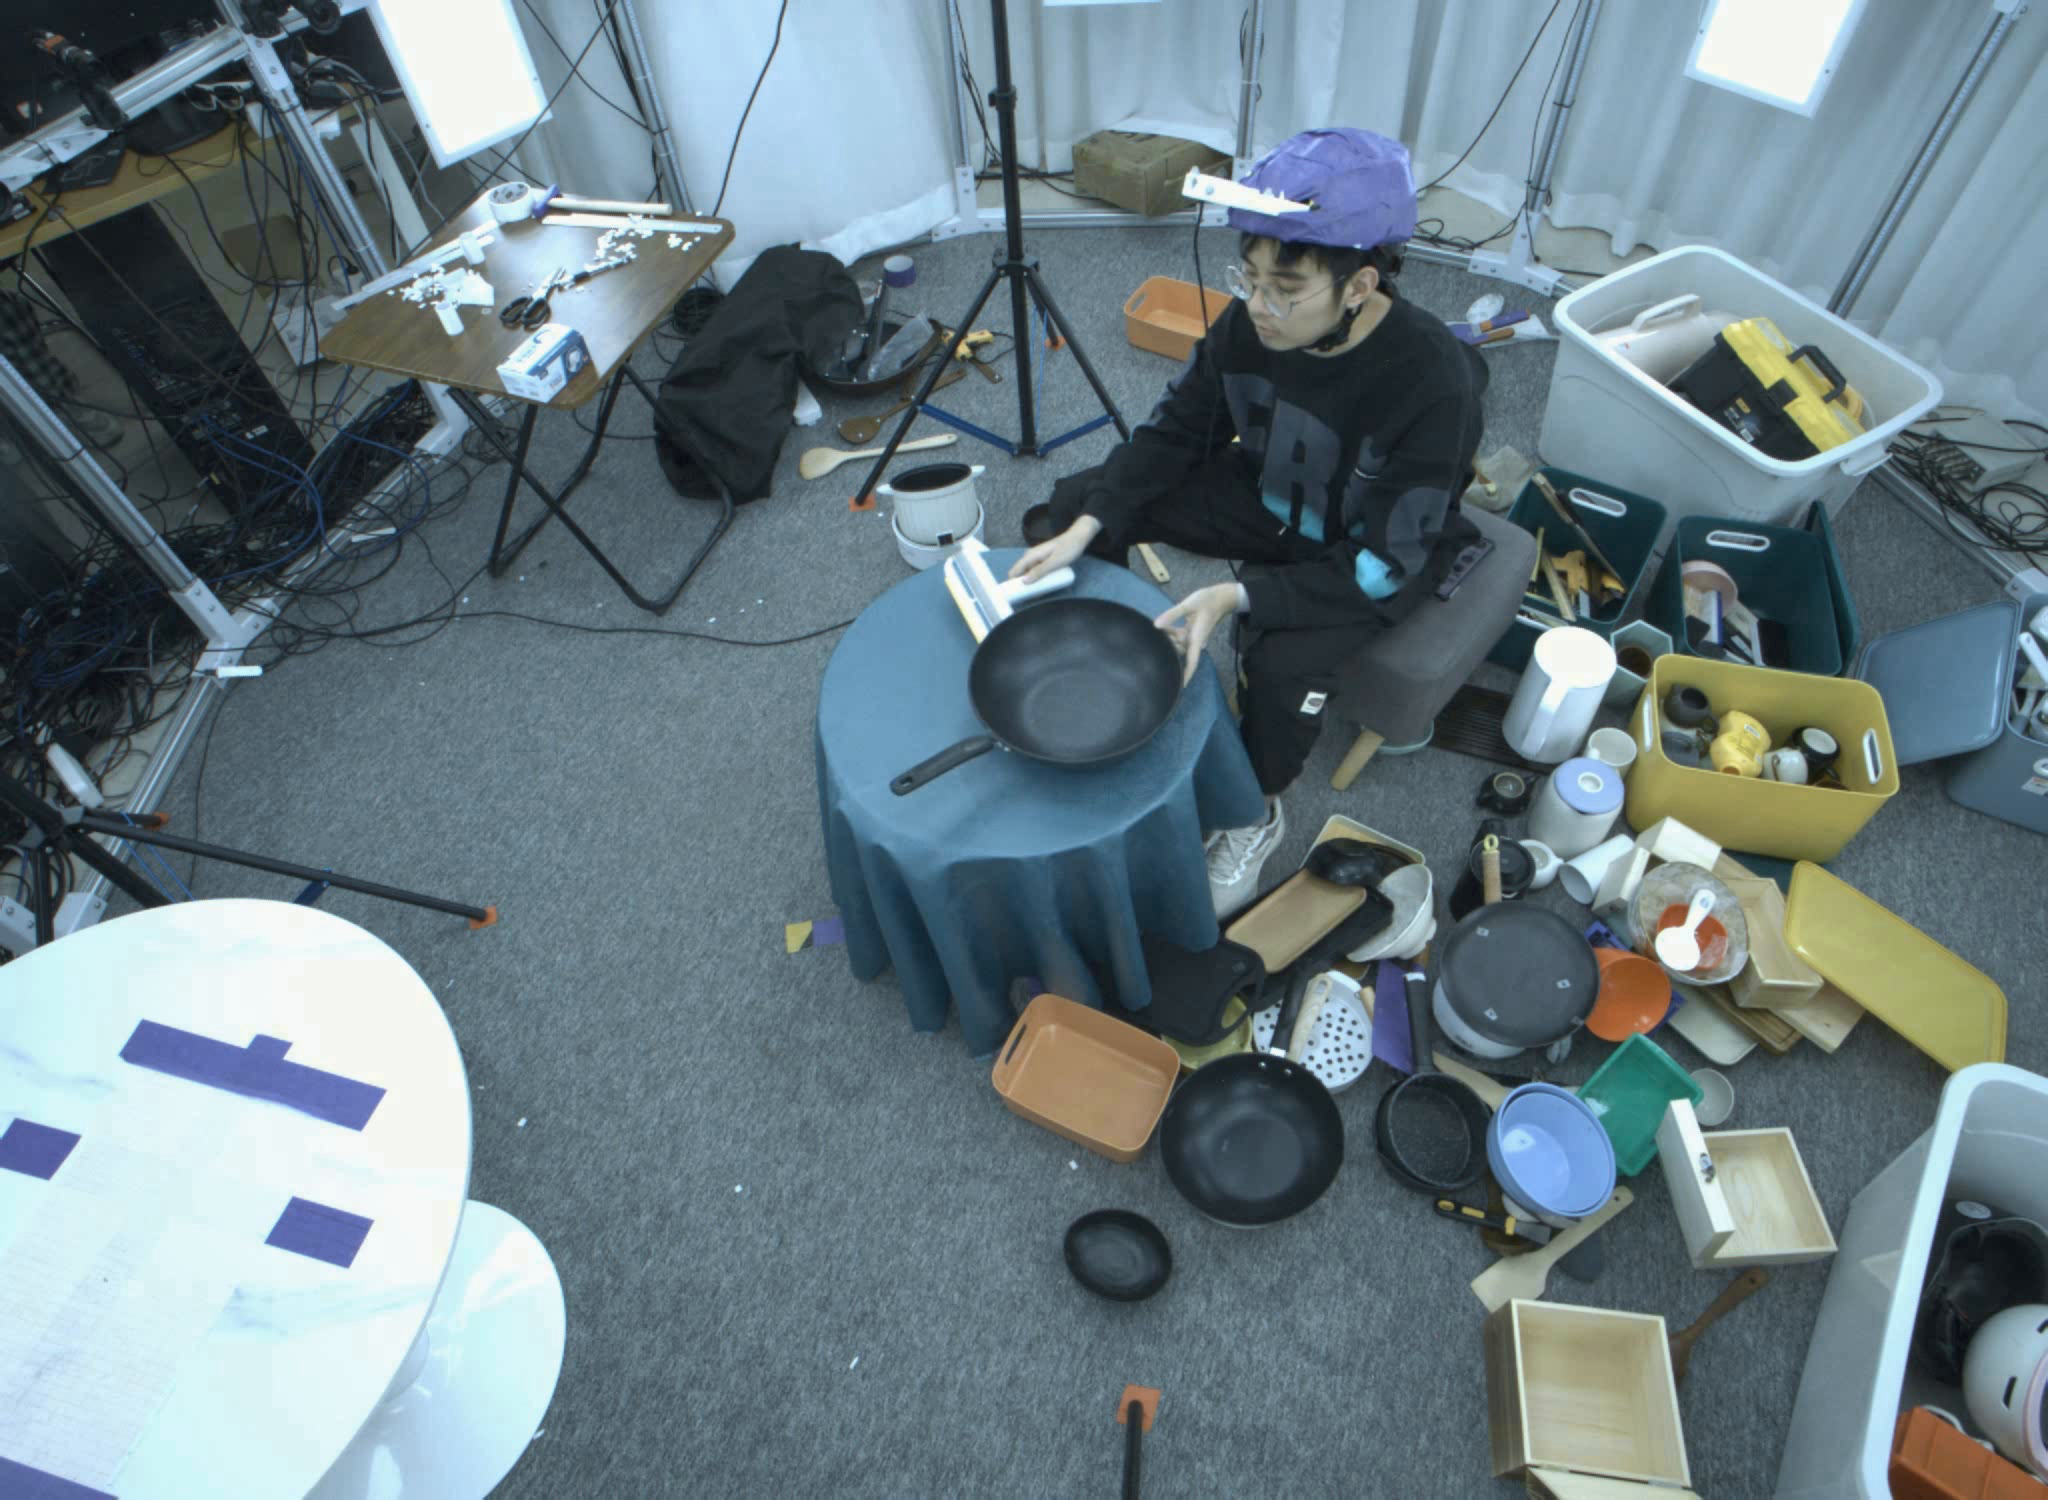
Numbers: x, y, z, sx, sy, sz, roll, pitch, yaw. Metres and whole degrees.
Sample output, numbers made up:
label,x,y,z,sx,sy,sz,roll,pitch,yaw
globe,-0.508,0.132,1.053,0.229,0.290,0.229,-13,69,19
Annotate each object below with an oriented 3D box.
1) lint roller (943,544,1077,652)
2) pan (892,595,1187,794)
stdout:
label,x,y,z,sx,sy,sz,roll,pitch,yaw
lint roller,-0.011,-0.253,1.911,0.193,0.075,0.190,-23,62,-4
pan,0.015,-0.048,1.750,0.480,0.113,0.304,-36,59,-21
